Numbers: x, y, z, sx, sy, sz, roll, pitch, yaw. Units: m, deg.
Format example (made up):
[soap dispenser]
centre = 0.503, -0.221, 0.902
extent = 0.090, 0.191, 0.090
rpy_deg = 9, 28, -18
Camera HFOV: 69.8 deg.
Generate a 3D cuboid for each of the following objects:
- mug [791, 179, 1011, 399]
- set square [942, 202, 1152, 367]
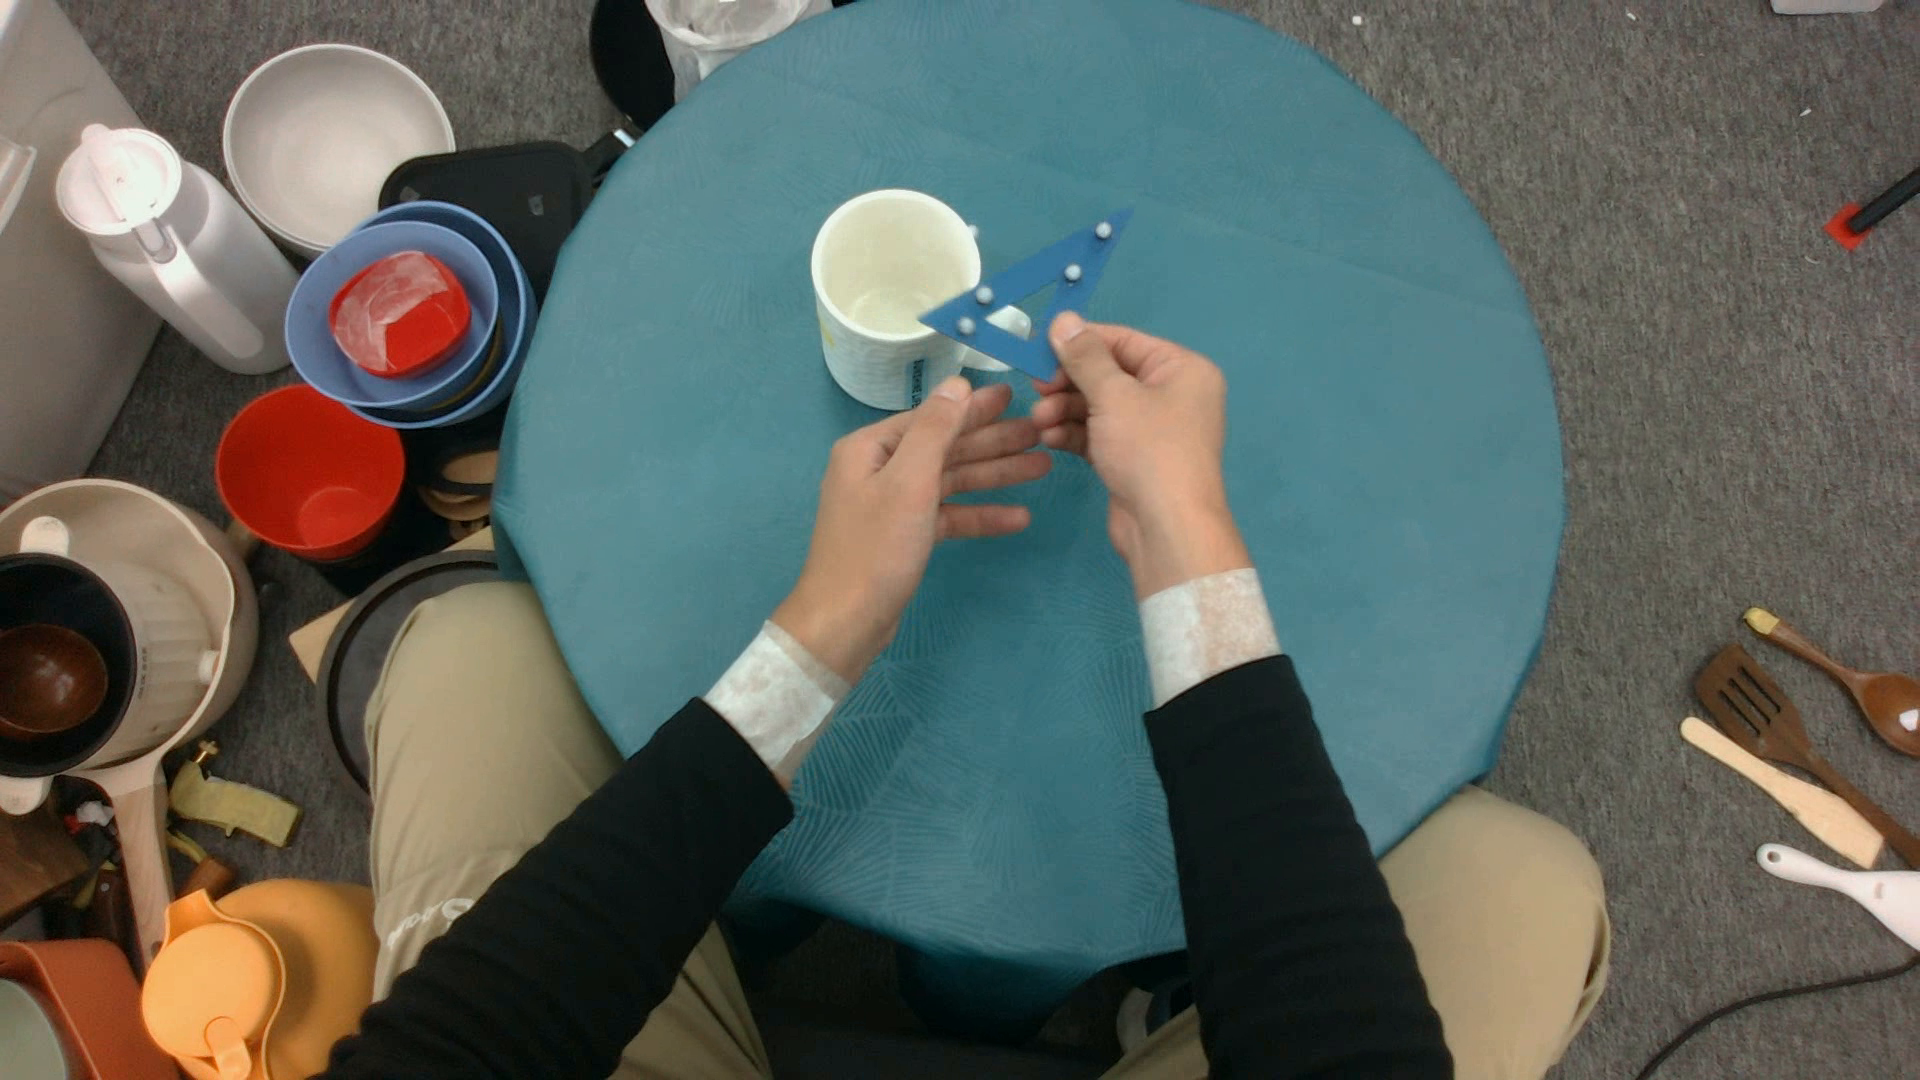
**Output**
[mug]
centre = -0.031, -0.128, 0.748
extent = 0.118, 0.101, 0.085
rpy_deg = 19, 73, 2
[set square]
centre = 0.059, -0.125, 0.687
extent = 0.132, 0.006, 0.061
rpy_deg = -32, 75, -22
